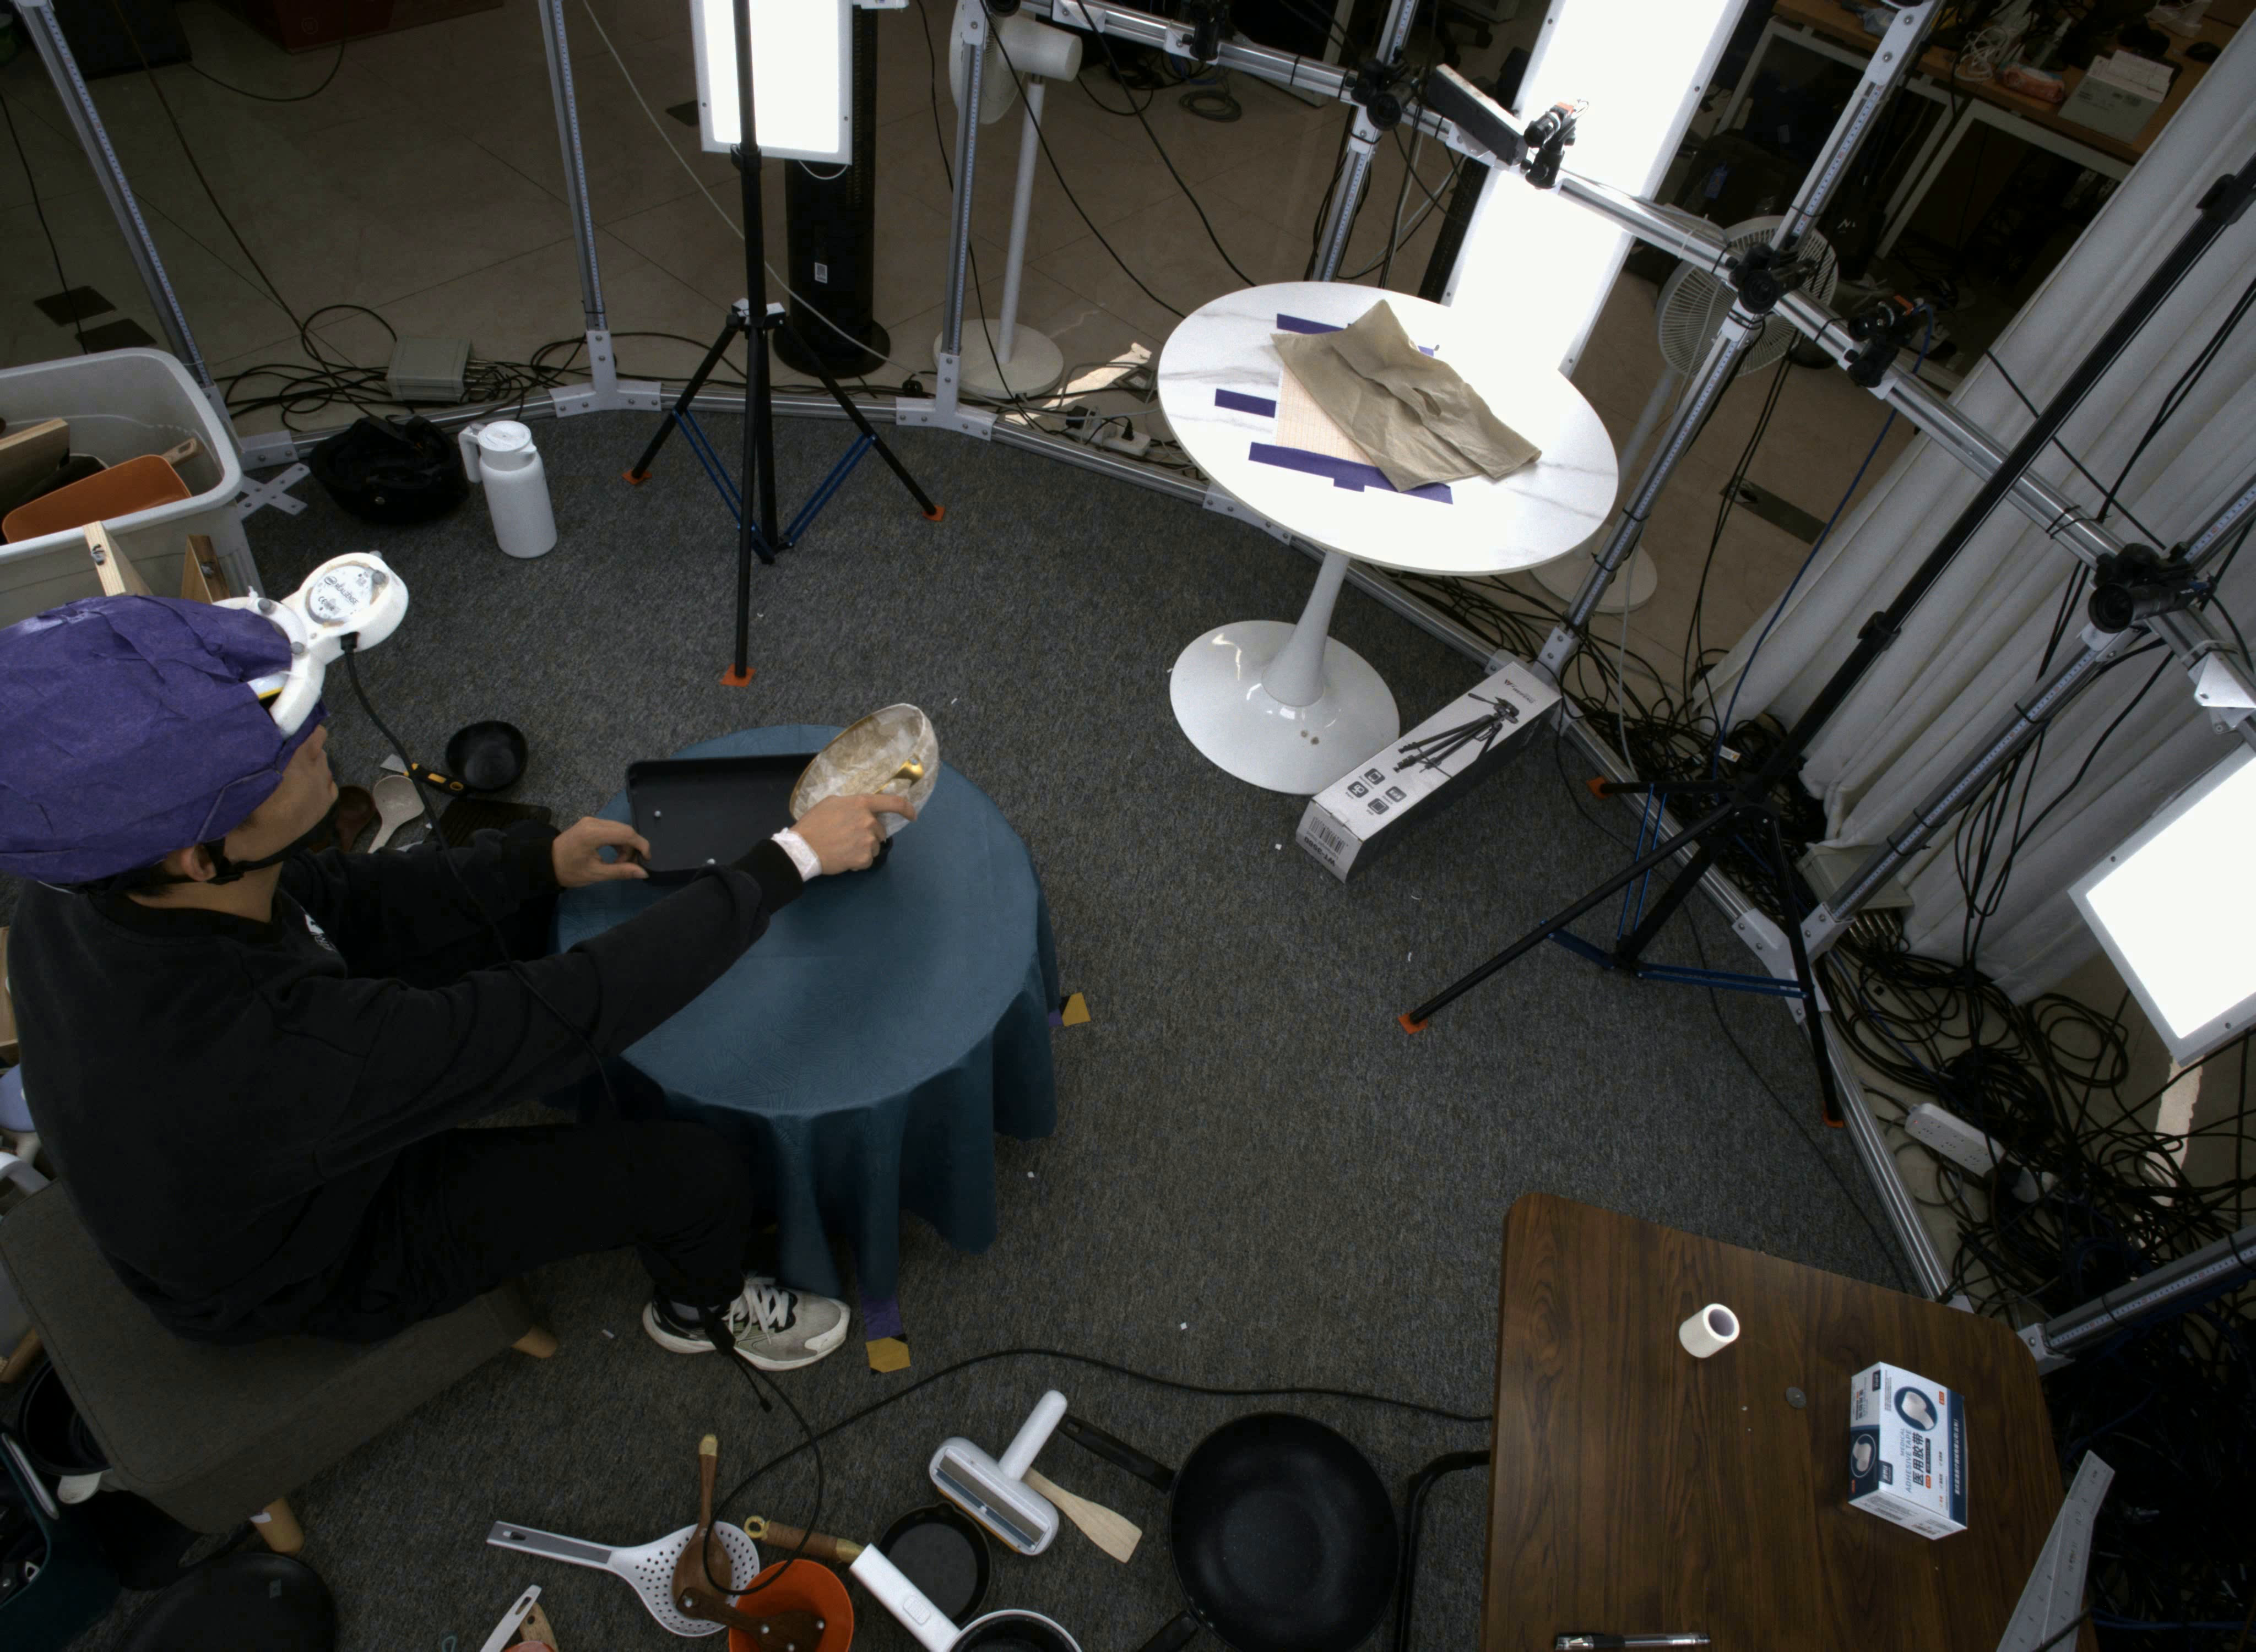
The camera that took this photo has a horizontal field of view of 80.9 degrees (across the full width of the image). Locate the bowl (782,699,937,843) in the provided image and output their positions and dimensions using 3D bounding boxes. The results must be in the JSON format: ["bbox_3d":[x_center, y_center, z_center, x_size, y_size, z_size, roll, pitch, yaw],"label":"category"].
[{"bbox_3d":[-0.313,-0.050,1.592,0.211,0.098,0.210,-22,38,20],"label":"bowl"}]

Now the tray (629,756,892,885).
[{"bbox_3d":[-0.477,-0.013,1.672,0.322,0.037,0.179,-2,51,-29],"label":"tray"}]
